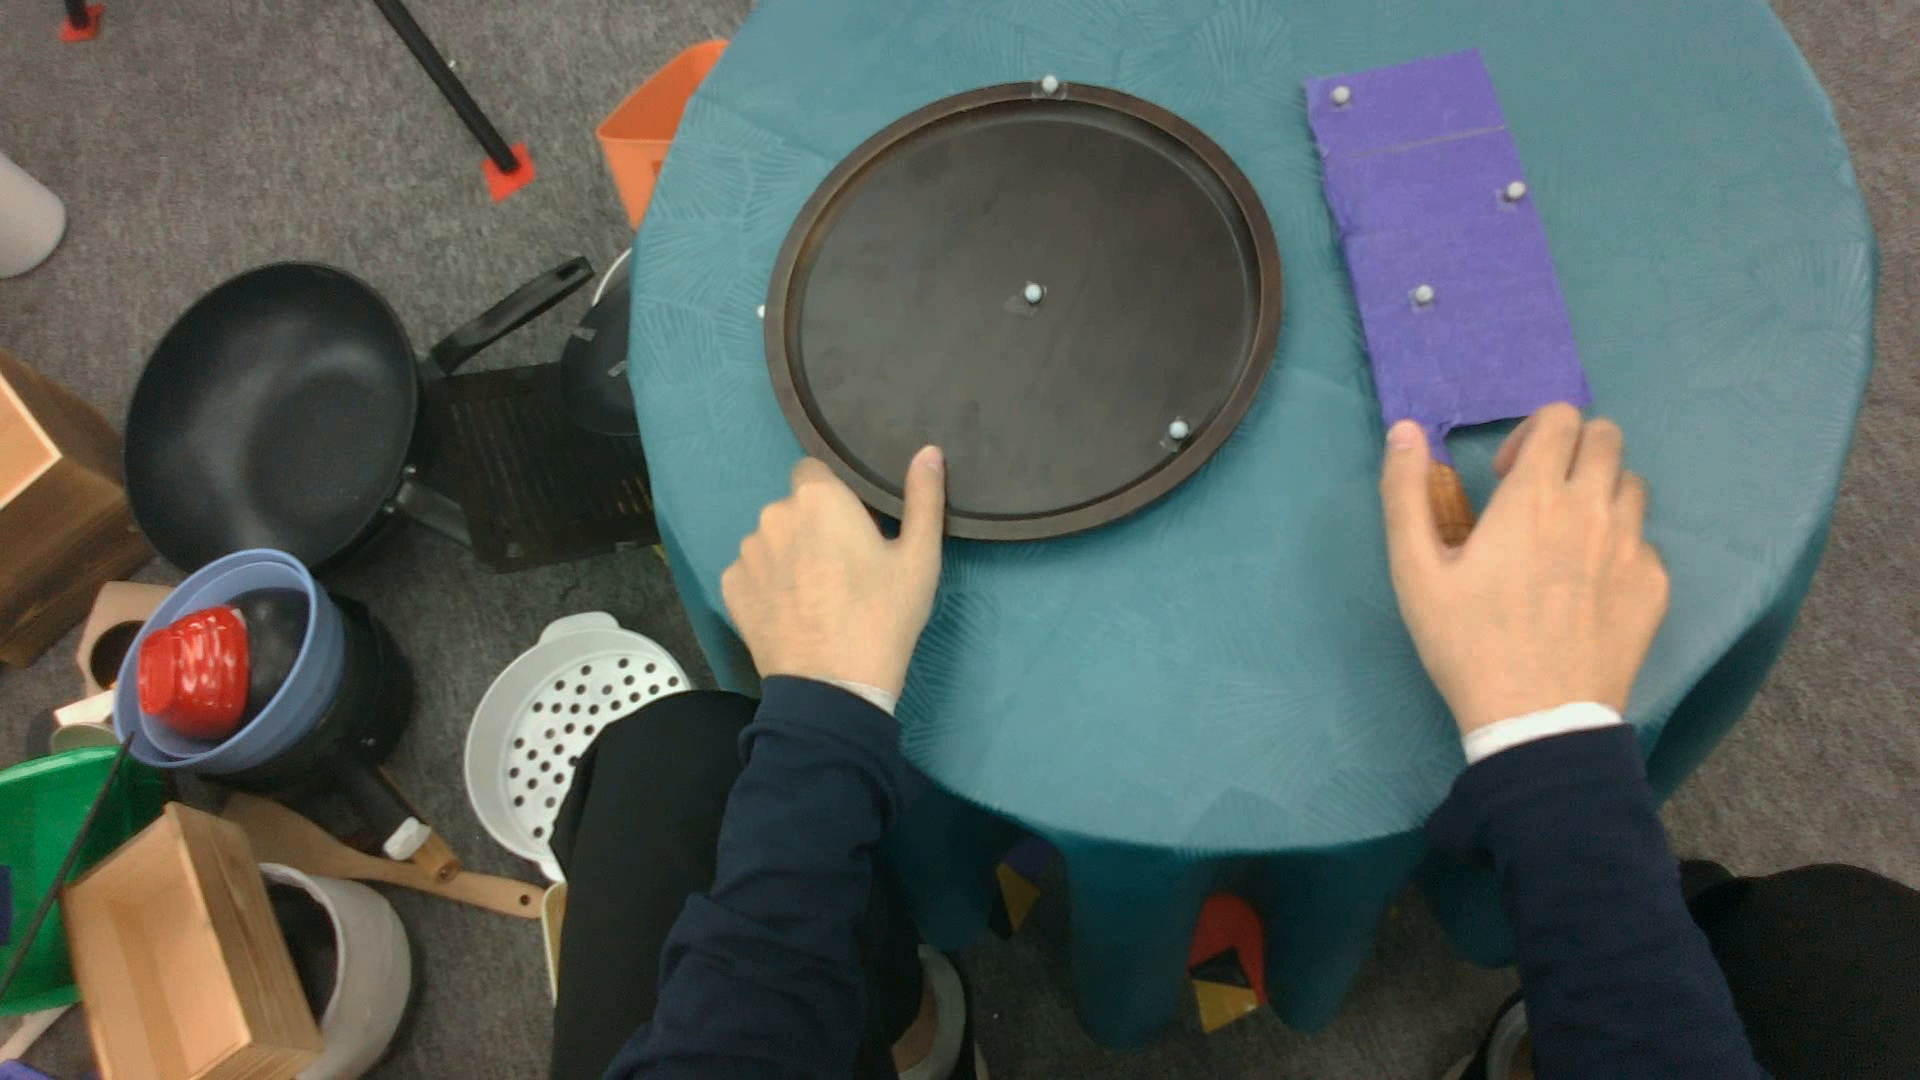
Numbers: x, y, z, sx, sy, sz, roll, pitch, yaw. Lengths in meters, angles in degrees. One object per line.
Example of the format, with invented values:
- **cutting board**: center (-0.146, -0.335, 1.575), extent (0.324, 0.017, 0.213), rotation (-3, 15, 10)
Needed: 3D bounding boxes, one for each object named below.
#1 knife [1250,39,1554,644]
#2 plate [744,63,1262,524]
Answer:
- **knife**: center (0.219, -0.109, 0.641), extent (0.104, 0.032, 0.316), rotation (-10, 68, 4)
- **plate**: center (0.019, -0.124, 0.676), extent (0.254, 0.029, 0.255), rotation (-3, 68, 7)
